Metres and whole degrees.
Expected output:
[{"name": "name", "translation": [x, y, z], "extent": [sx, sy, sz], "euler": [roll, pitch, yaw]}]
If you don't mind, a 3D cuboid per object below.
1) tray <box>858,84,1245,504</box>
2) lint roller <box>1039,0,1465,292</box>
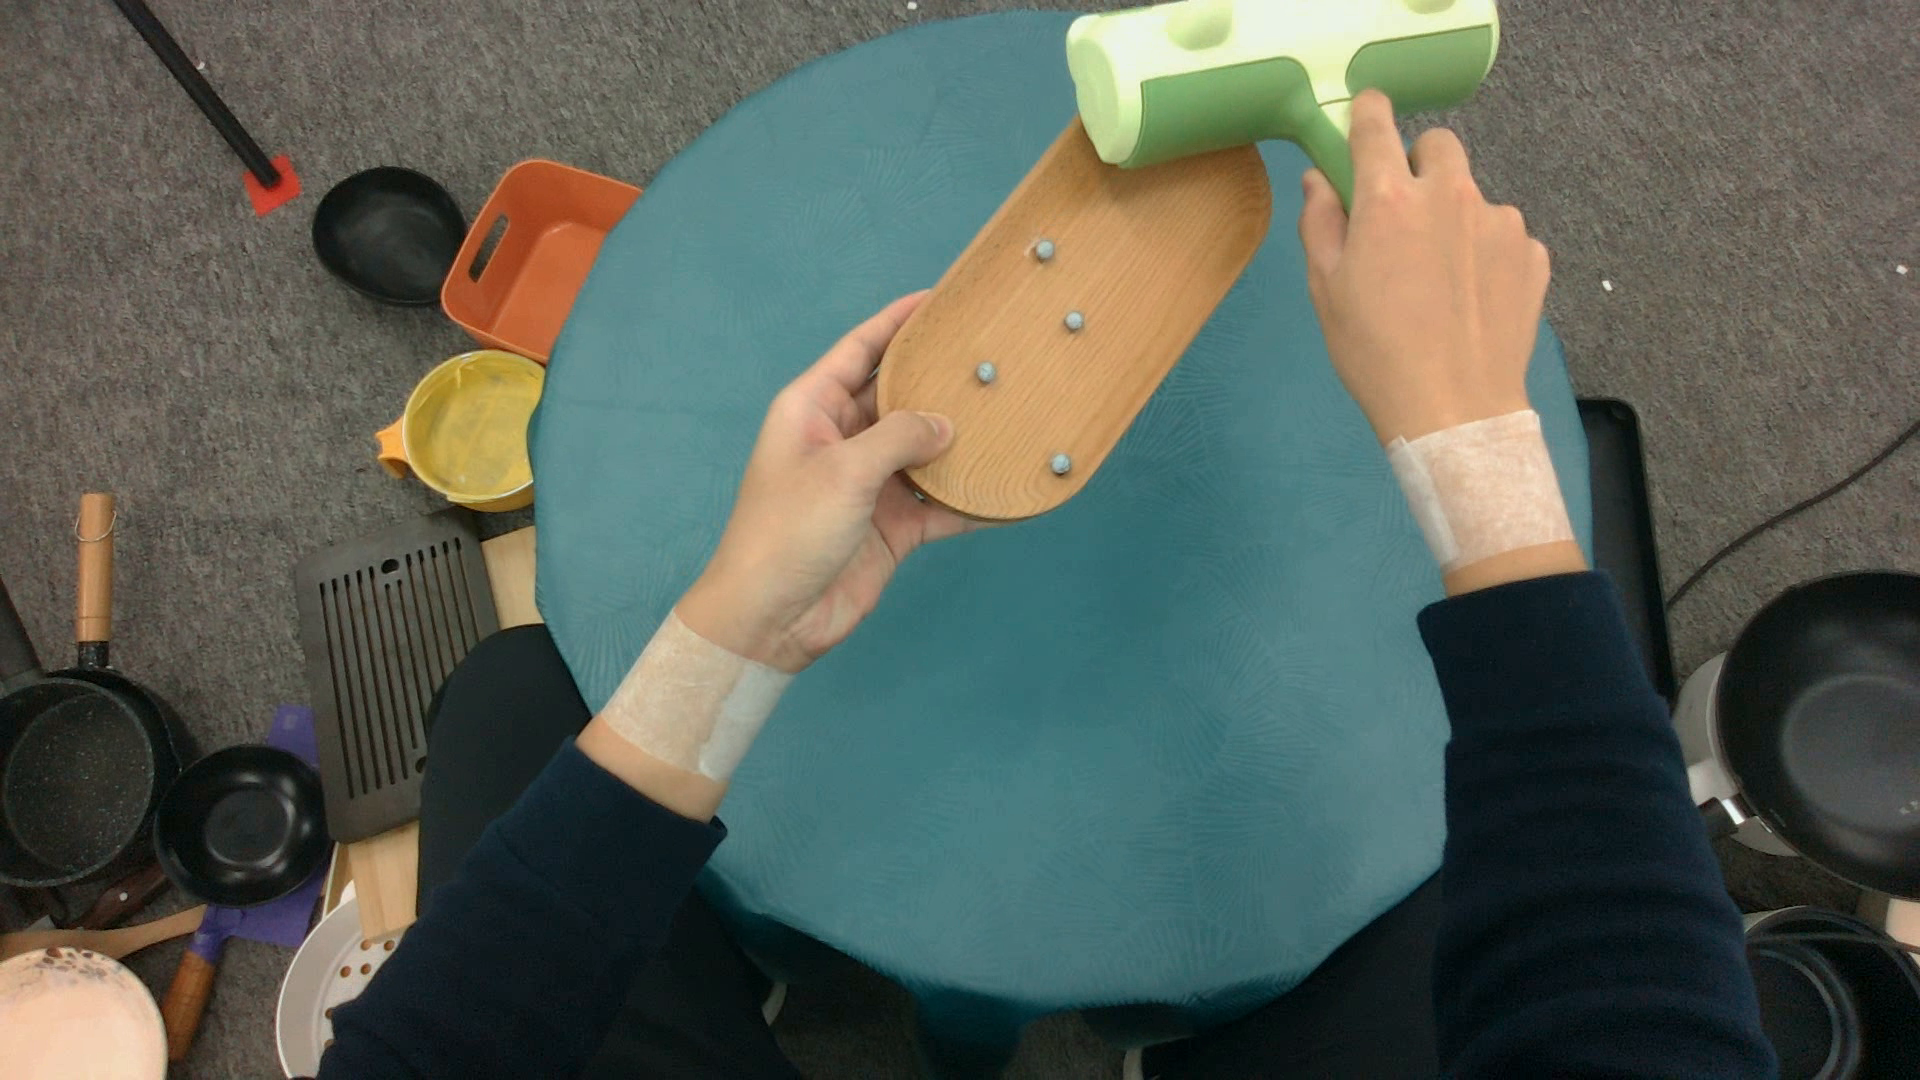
[{"name": "tray", "translation": [0.043, -0.114, 0.593], "extent": [0.101, 0.020, 0.232], "euler": [36, 69, -3]}, {"name": "lint roller", "translation": [0.157, -0.186, 0.574], "extent": [0.199, 0.082, 0.184], "euler": [-17, 53, -20]}]
